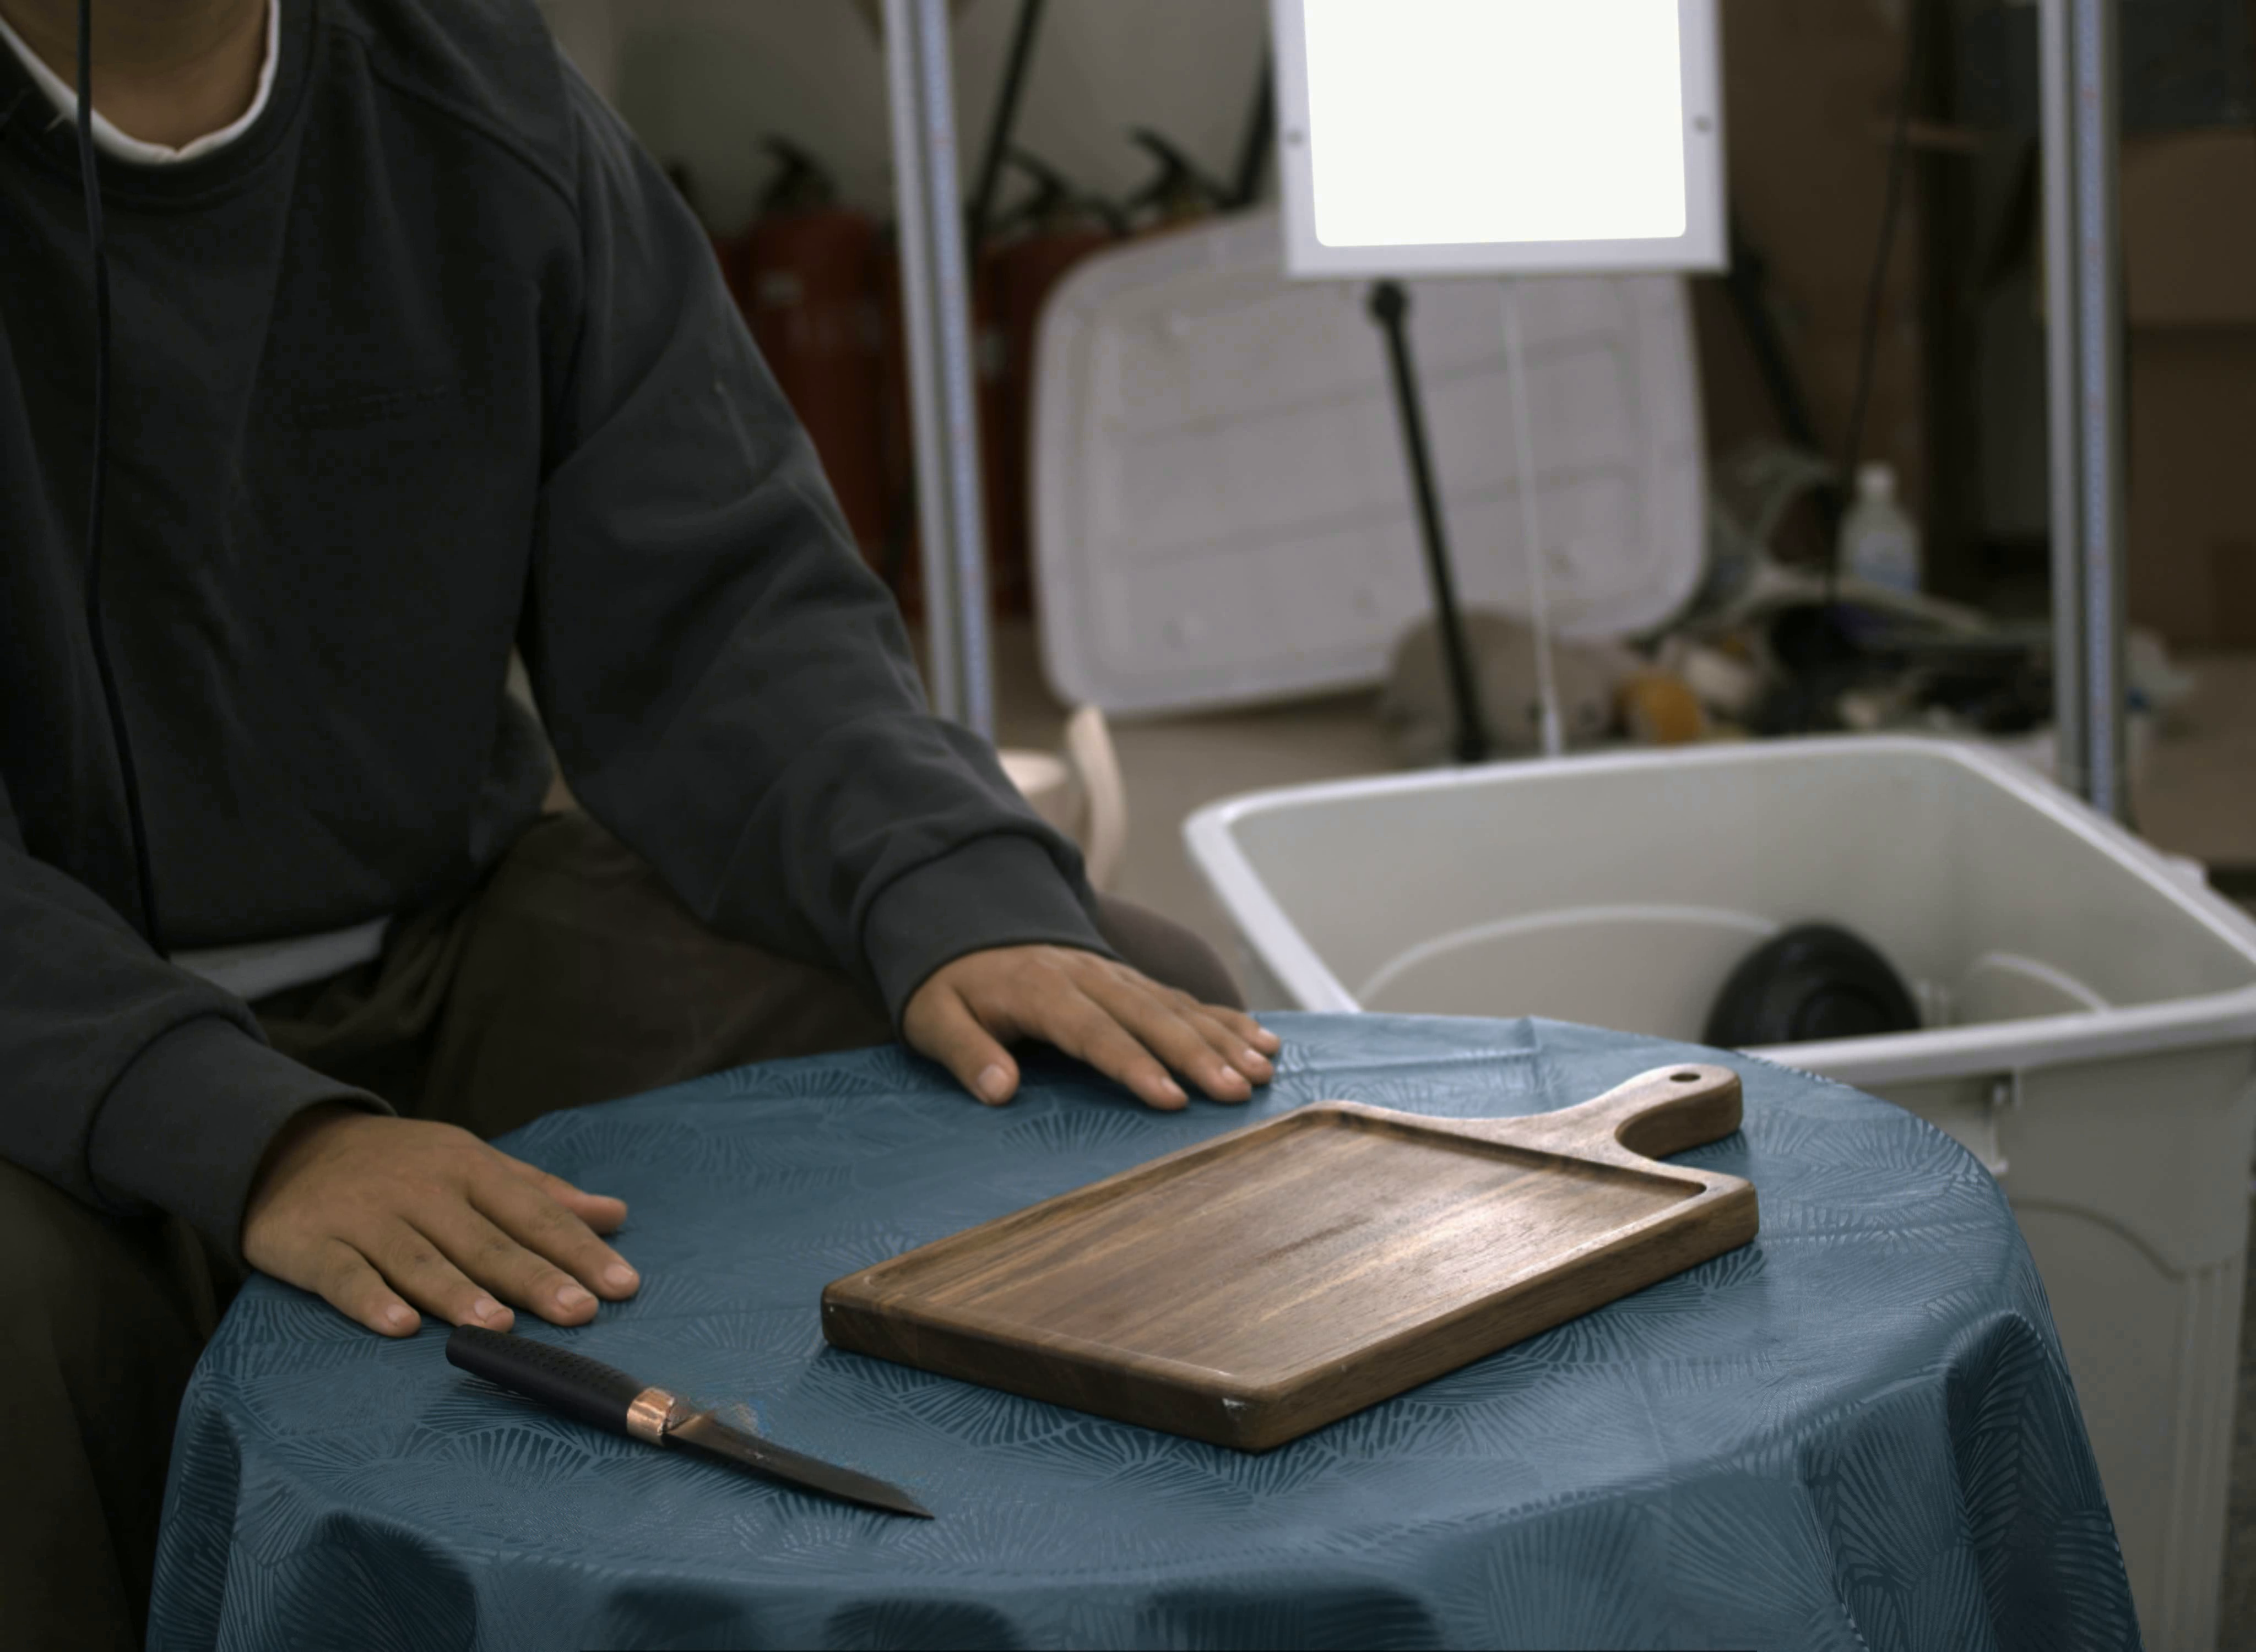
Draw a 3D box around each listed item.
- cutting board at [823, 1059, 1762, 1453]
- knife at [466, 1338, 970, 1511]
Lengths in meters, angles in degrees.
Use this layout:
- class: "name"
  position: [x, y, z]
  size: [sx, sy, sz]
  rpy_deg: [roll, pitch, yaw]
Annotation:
- class: "cutting board"
  position: [0.089, 0.130, 1.809]
  size: [0.343, 0.023, 0.205]
  rpy_deg: [-17, 18, -42]
- class: "knife"
  position: [-0.128, 0.184, 1.685]
  size: [0.025, 0.017, 0.230]
  rpy_deg: [-10, 14, -41]
